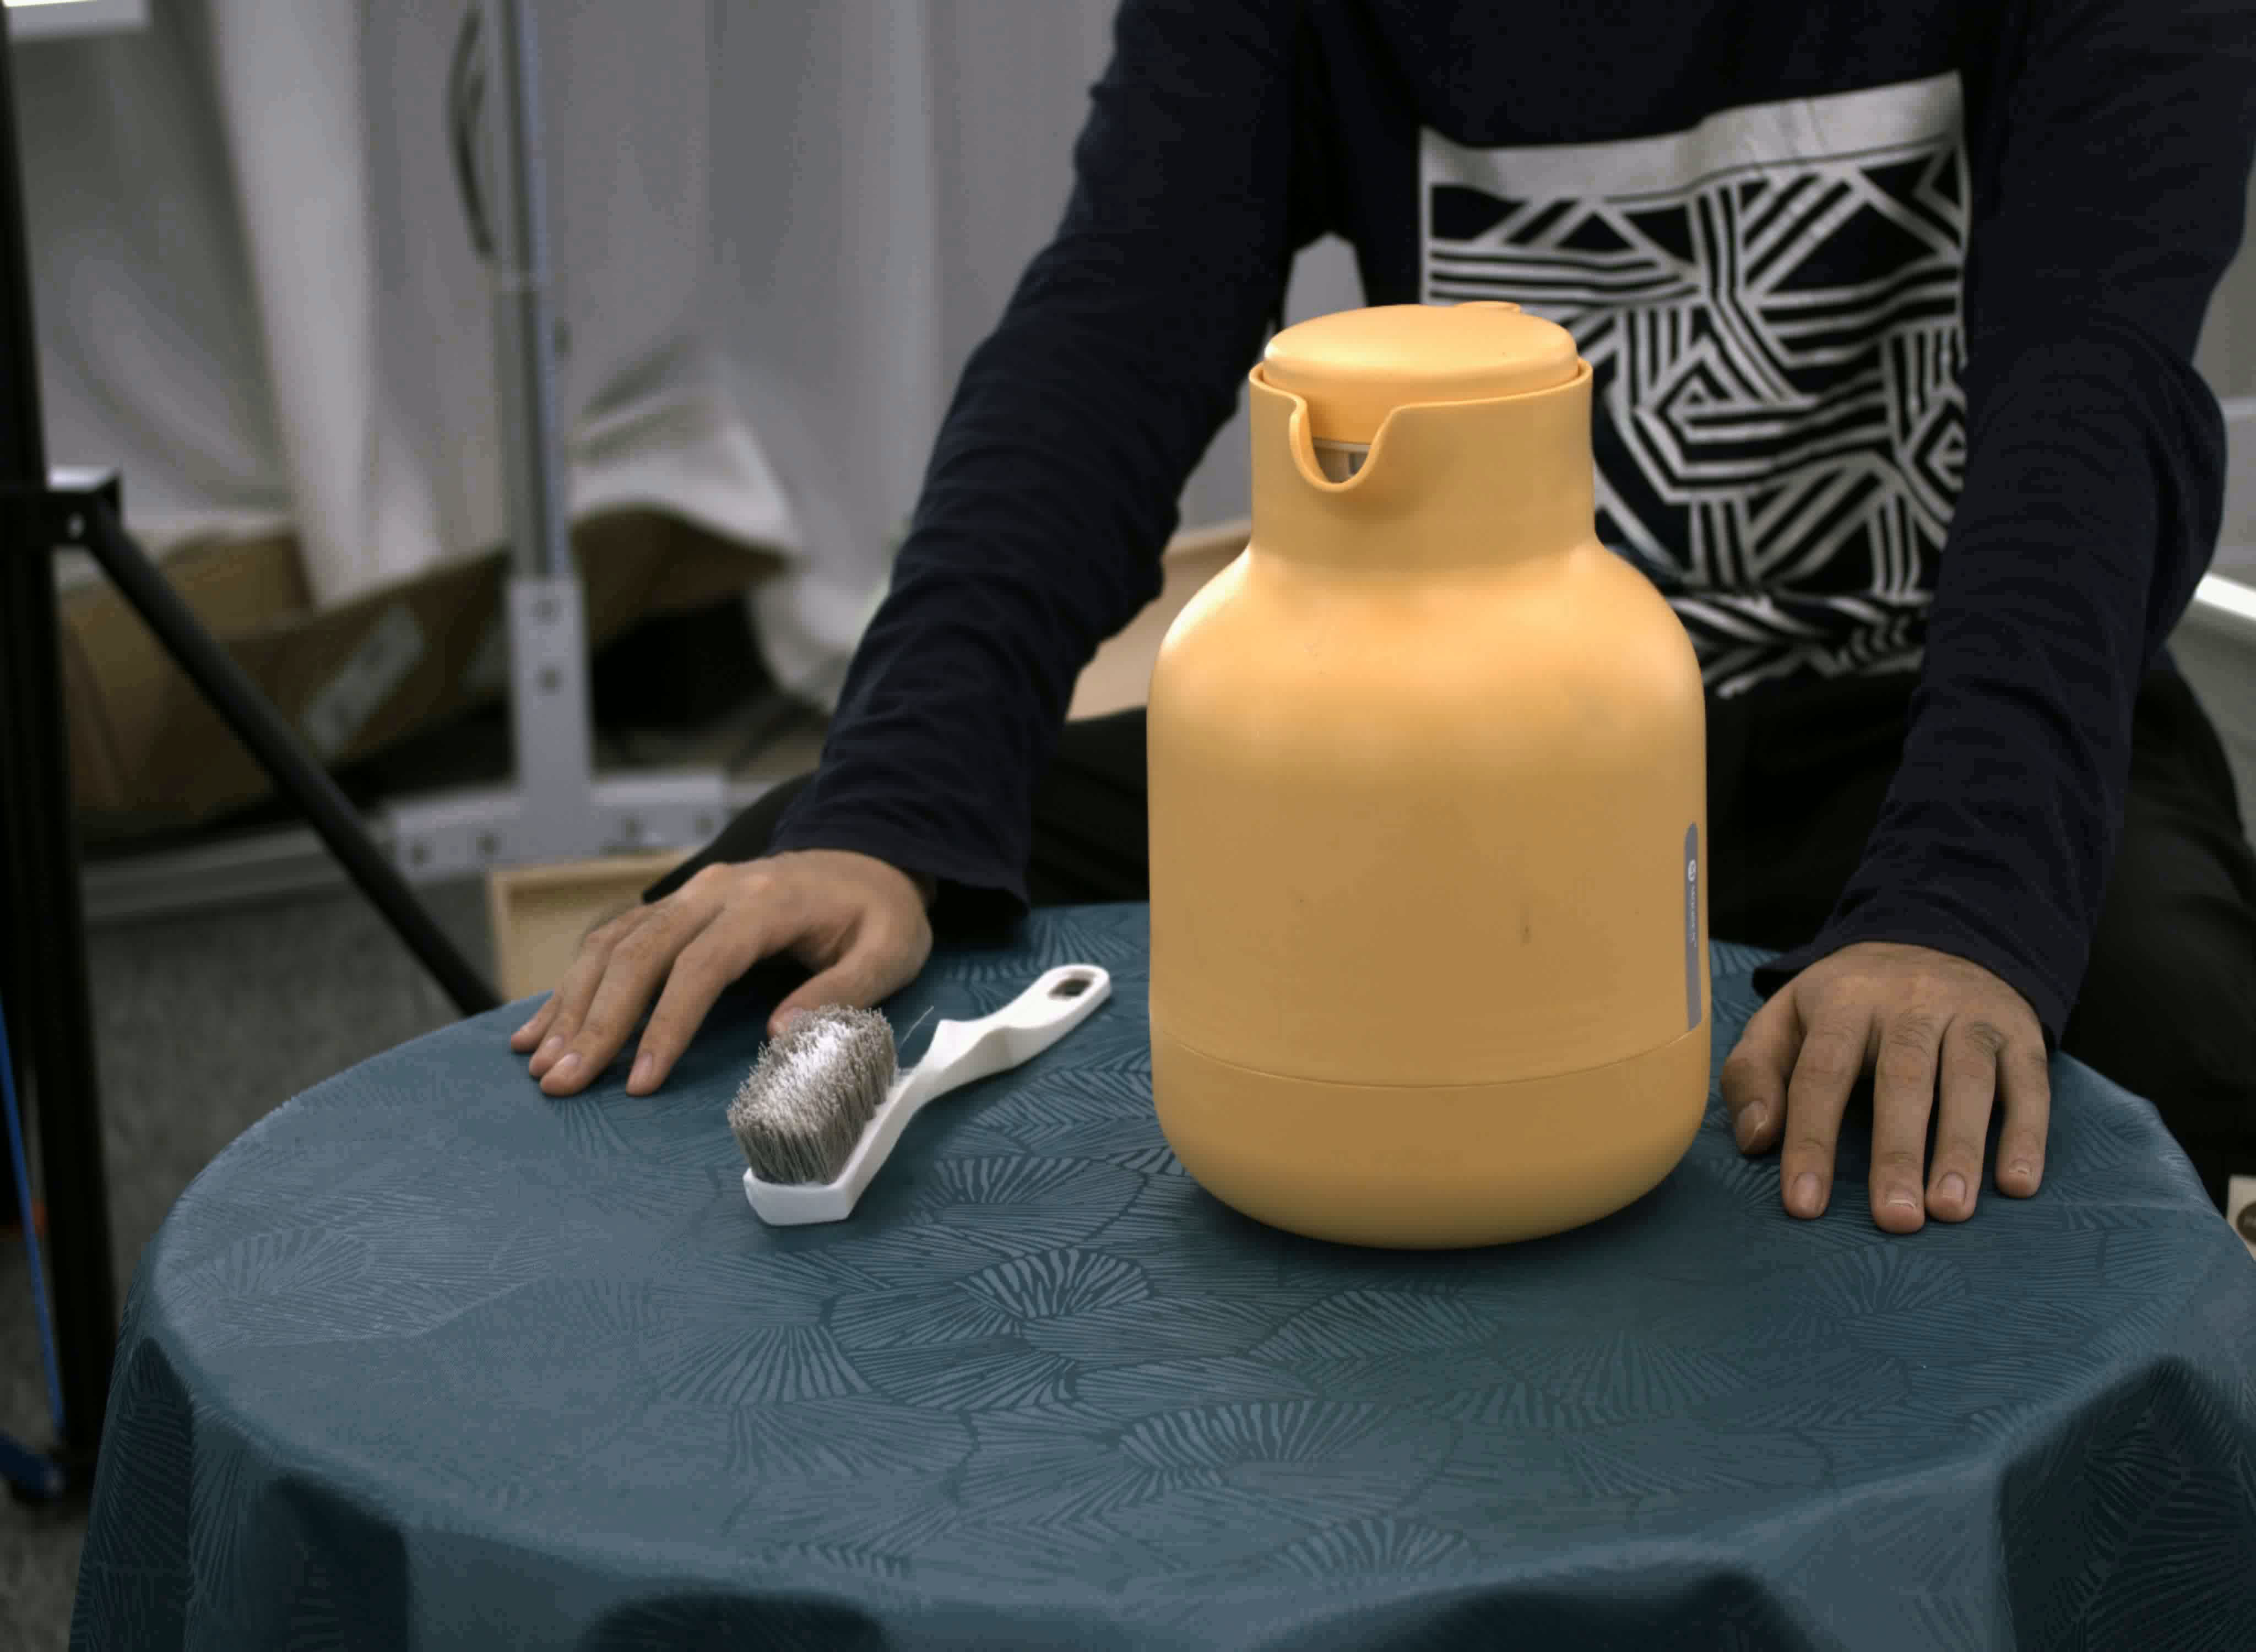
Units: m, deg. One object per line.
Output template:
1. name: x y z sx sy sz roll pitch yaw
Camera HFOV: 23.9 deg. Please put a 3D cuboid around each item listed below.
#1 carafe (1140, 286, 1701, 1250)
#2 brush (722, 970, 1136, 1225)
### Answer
1. carafe: 0.093 -0.024 1.536 0.166 0.260 0.199 8 19 23
2. brush: -0.056 0.064 1.639 0.035 0.050 0.240 1 16 26
